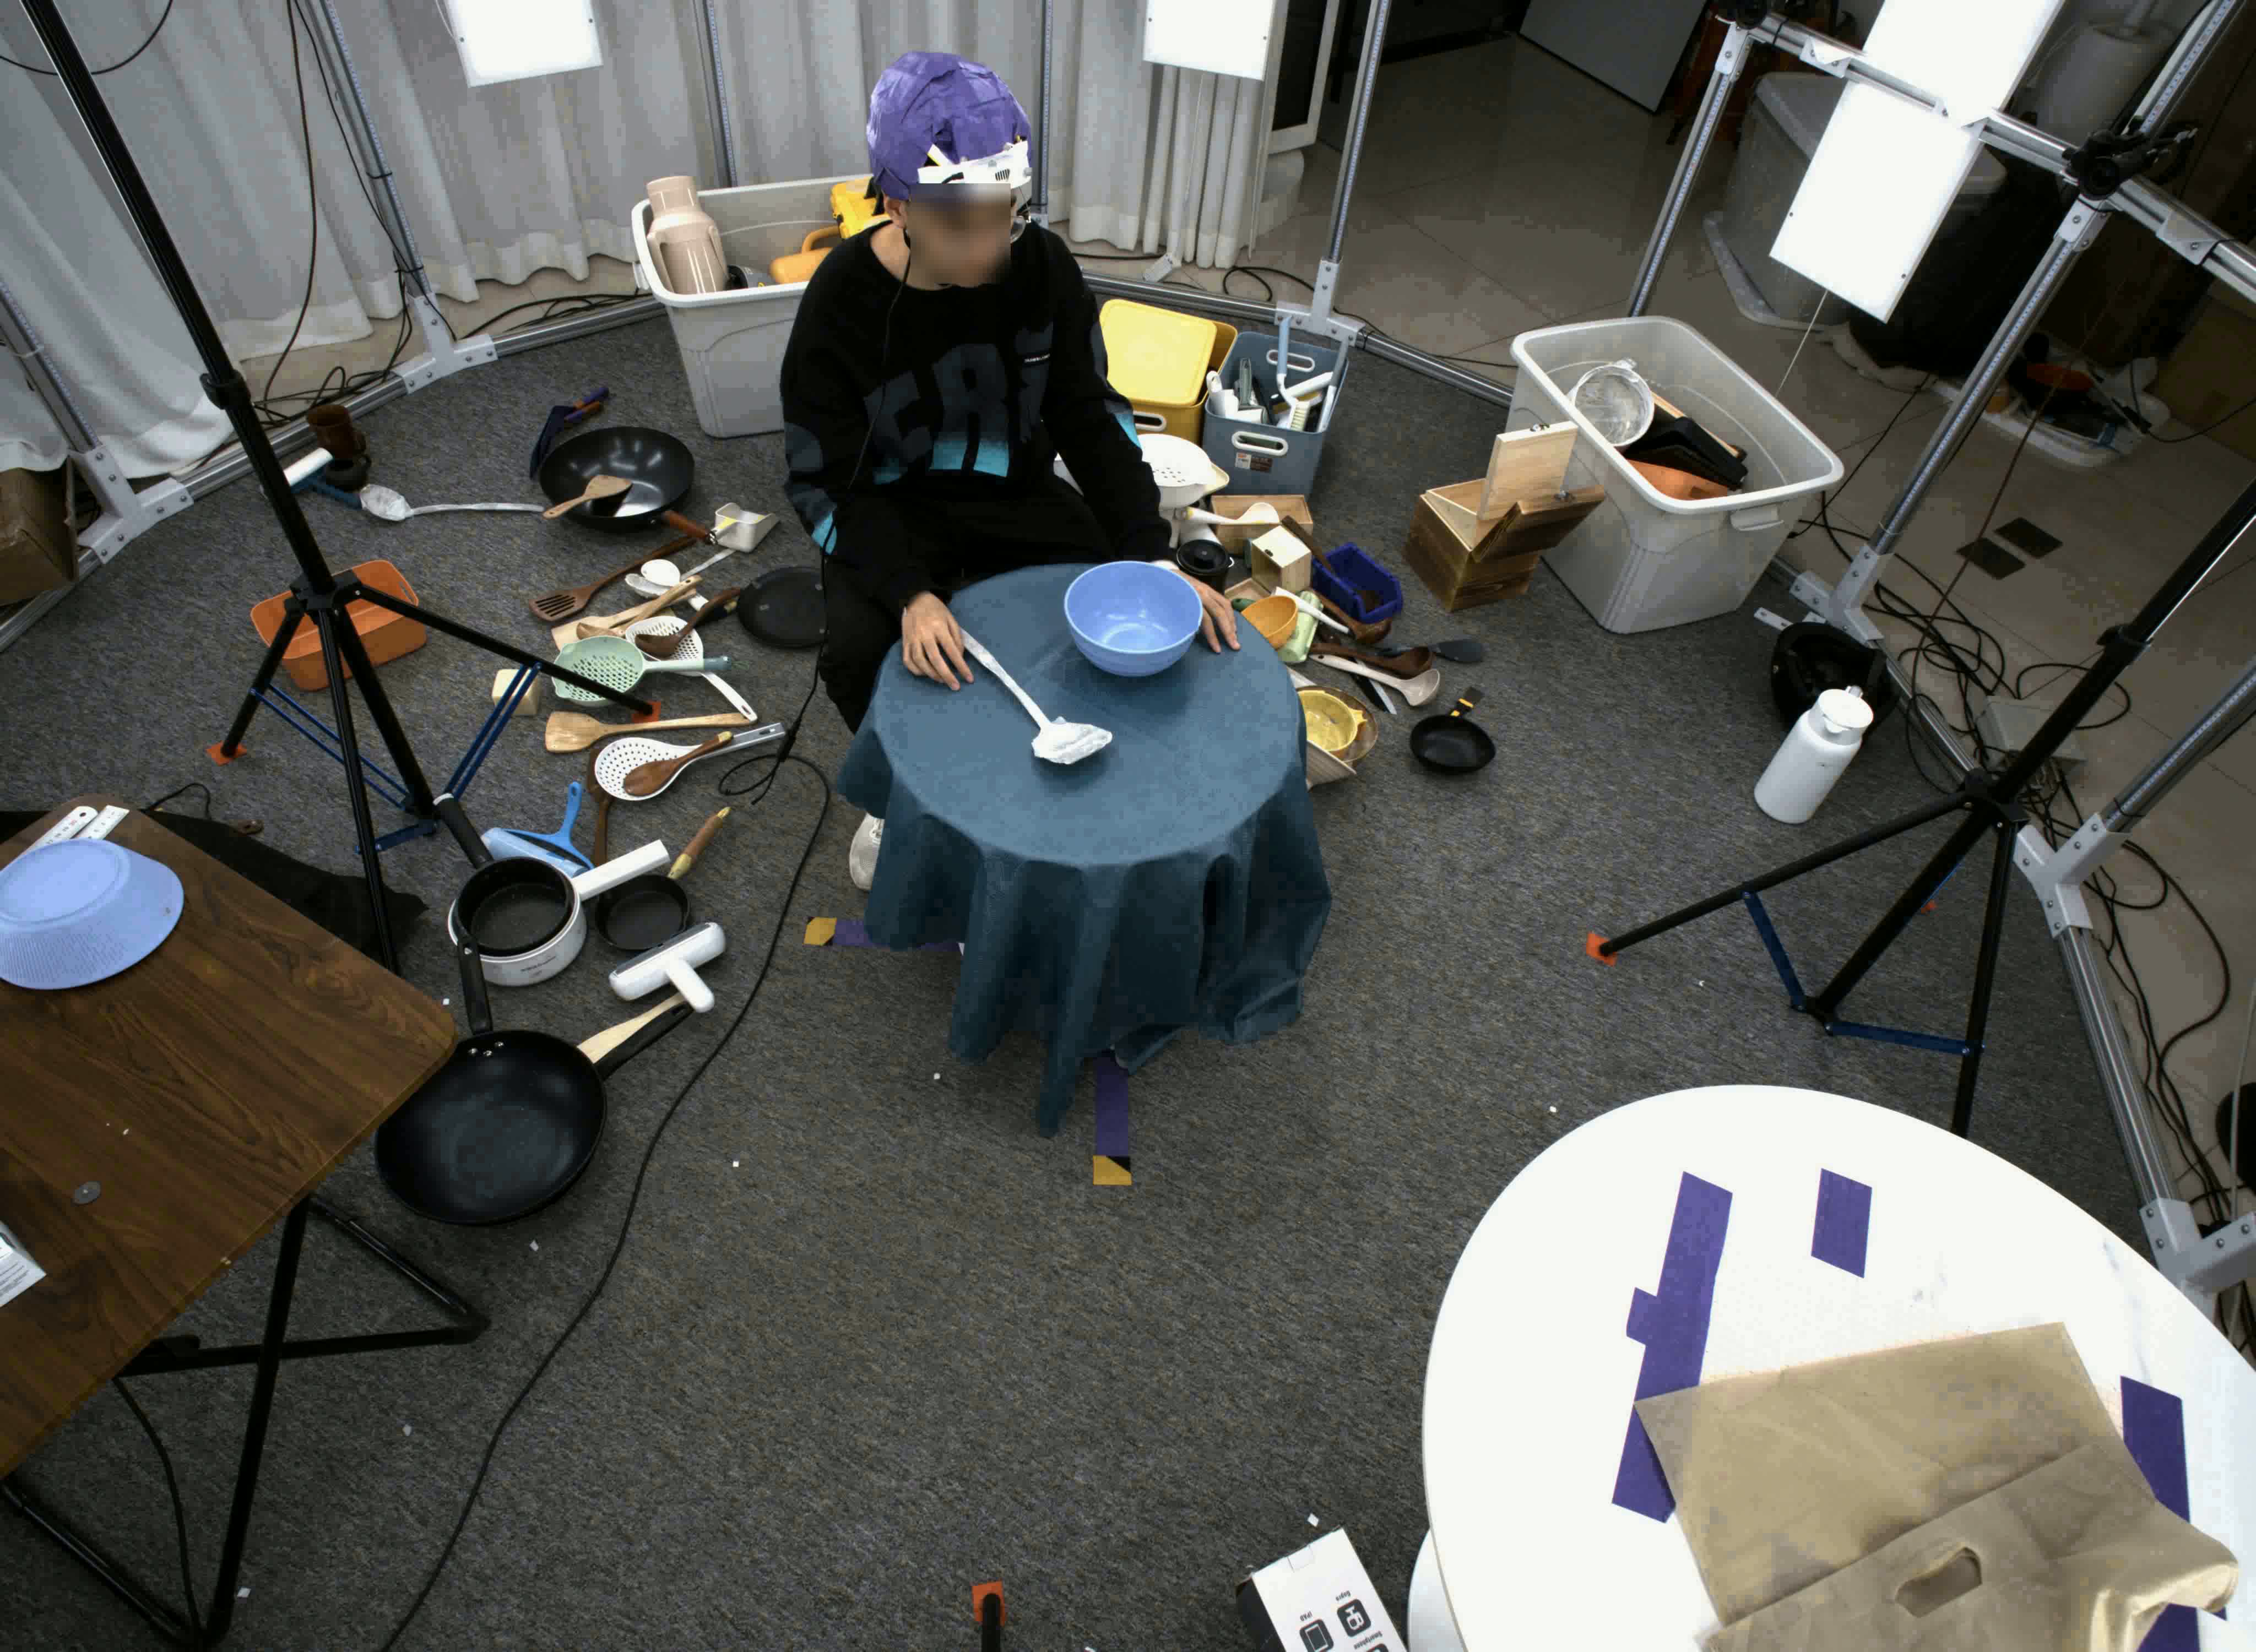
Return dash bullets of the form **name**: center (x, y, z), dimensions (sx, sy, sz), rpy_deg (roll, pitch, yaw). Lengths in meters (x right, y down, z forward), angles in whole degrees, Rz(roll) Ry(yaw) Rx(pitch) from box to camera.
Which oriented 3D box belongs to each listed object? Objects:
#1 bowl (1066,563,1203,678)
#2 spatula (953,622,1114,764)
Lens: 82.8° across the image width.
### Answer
- **bowl**: center (0.007, -0.283, 1.870), dimensions (0.196, 0.093, 0.201), rpy_deg (2, 50, -3)
- **spatula**: center (-0.156, -0.199, 1.823), dimensions (0.099, 0.043, 0.372), rpy_deg (-28, 56, -23)
